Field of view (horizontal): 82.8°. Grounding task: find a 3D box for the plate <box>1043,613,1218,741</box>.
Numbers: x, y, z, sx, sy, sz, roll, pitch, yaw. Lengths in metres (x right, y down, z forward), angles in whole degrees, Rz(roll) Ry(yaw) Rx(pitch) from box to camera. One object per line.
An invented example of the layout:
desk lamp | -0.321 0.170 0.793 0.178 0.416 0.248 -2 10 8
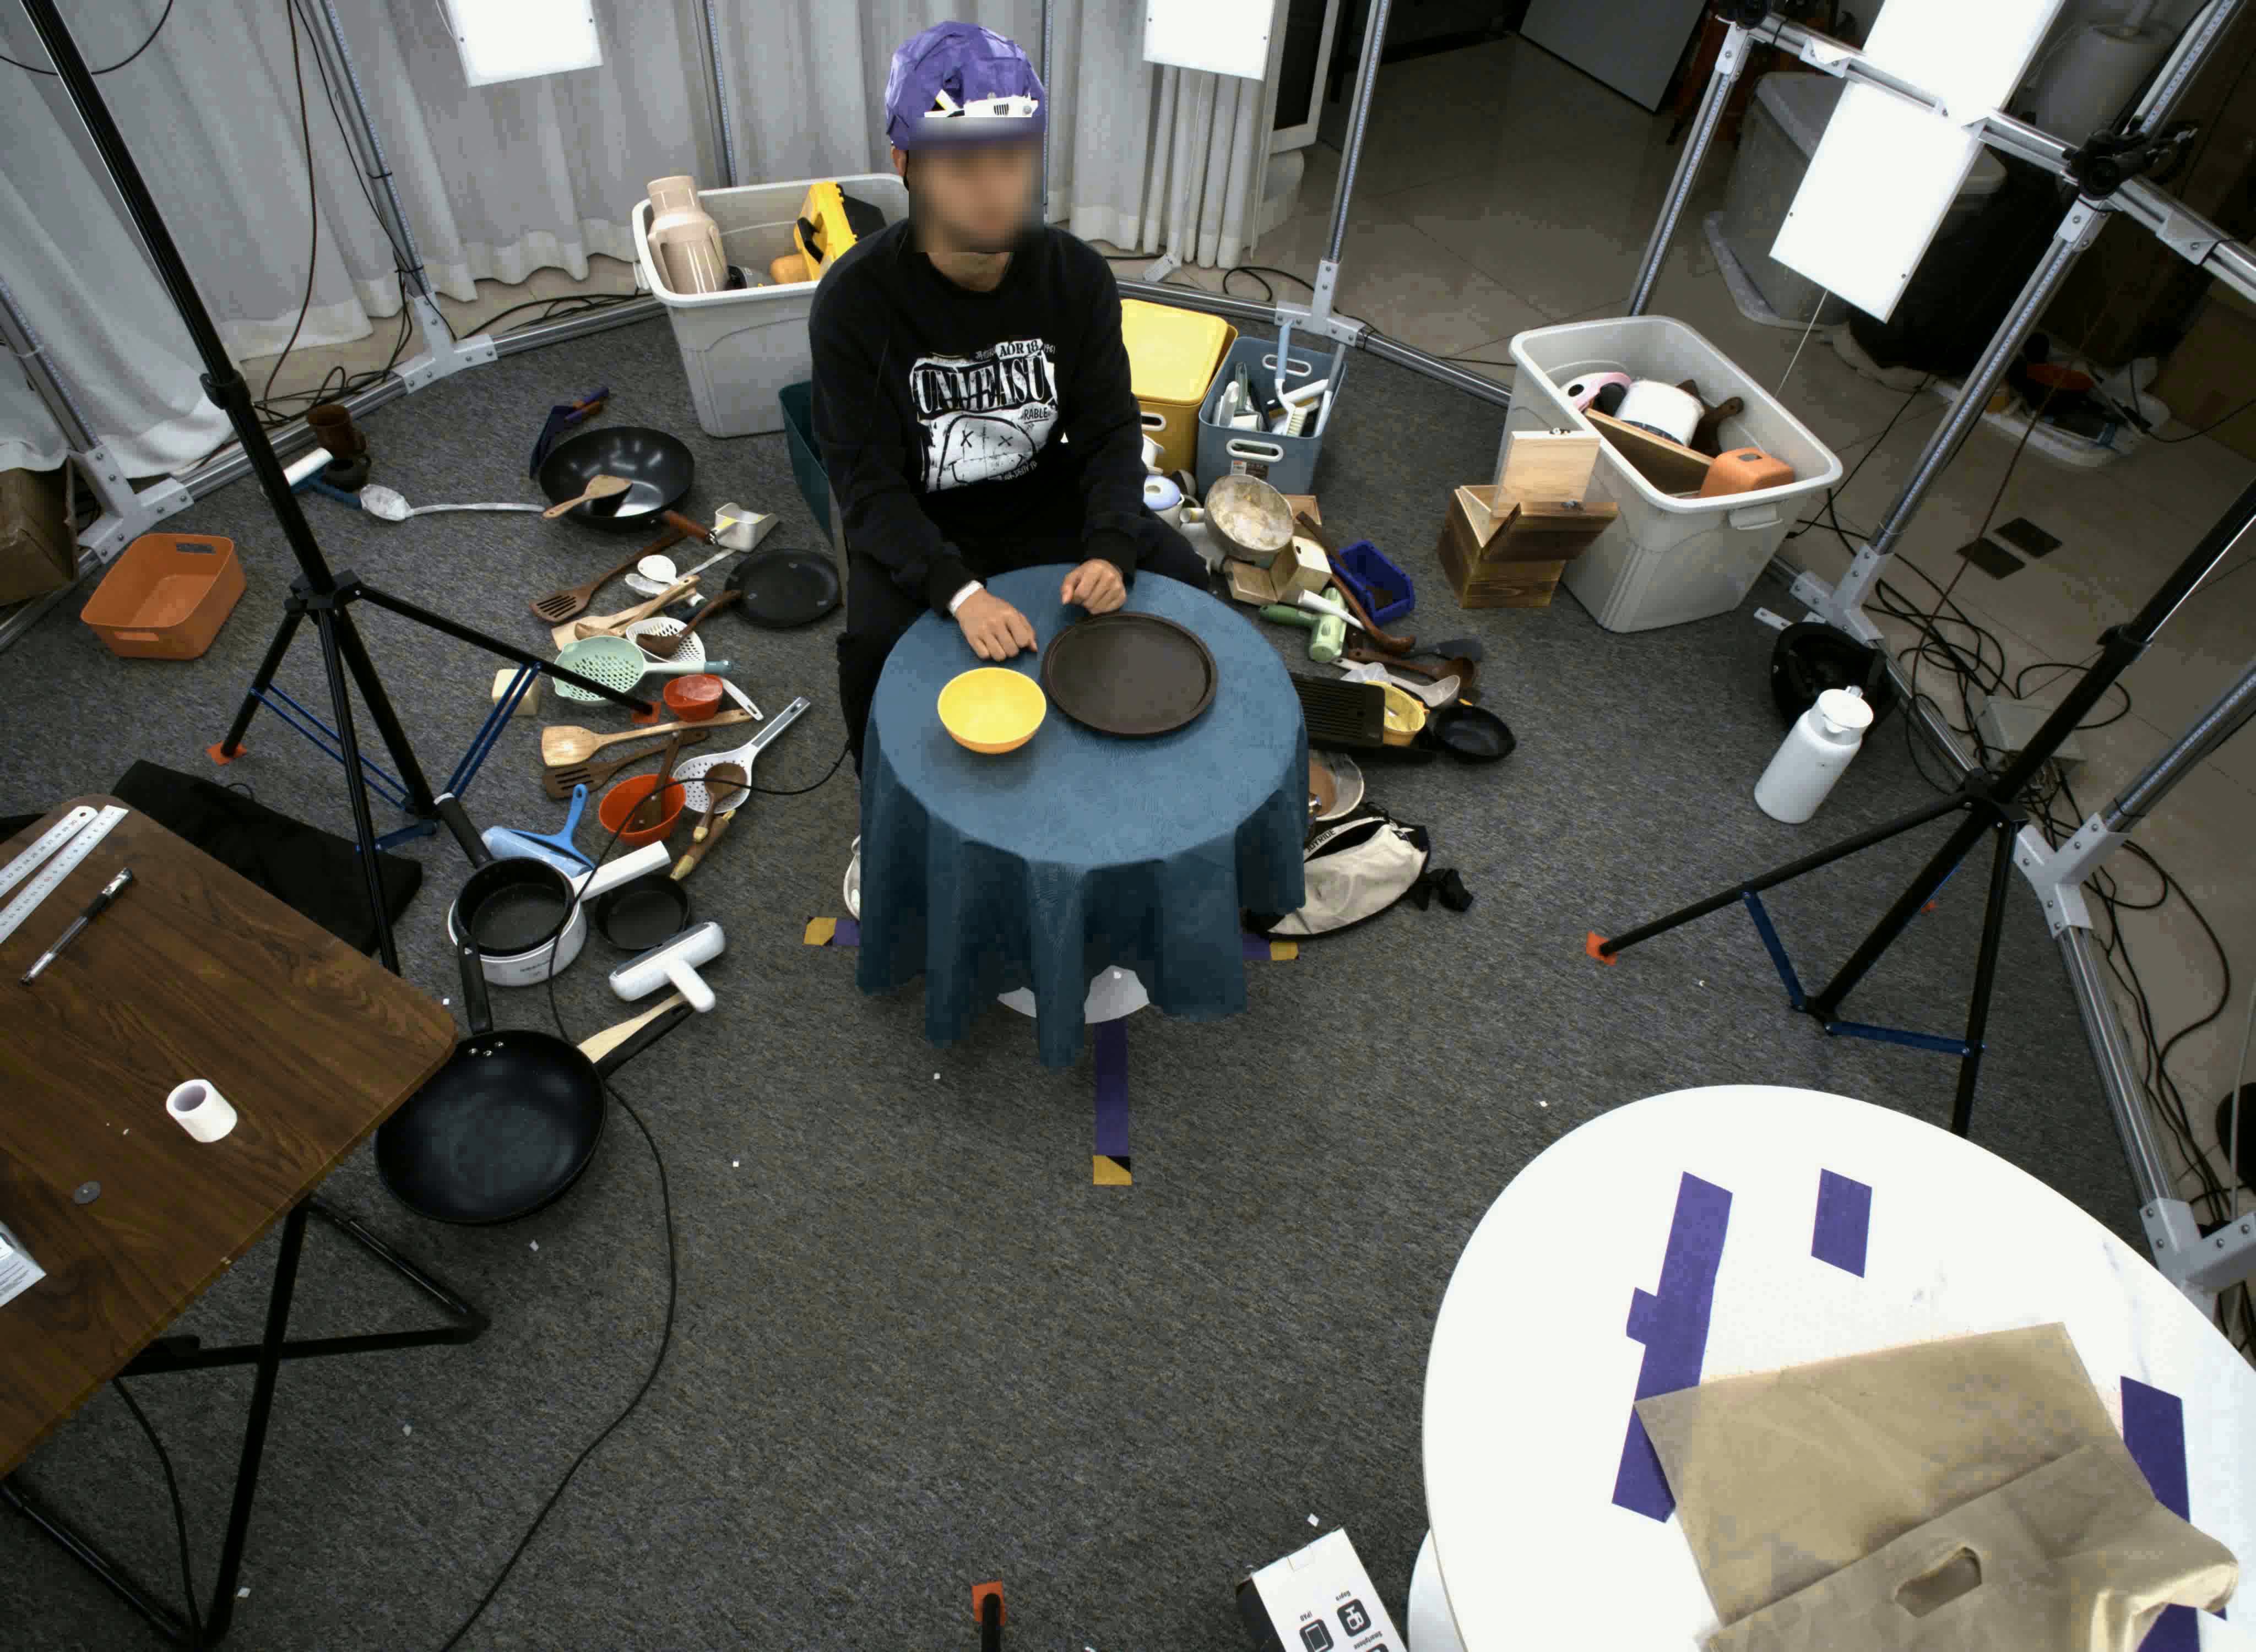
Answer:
plate | 0.004 -0.217 1.859 0.254 0.028 0.261 1 49 -1

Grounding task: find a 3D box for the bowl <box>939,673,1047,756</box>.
bowl | -0.184 -0.142 1.759 0.145 0.058 0.149 2 46 -3
